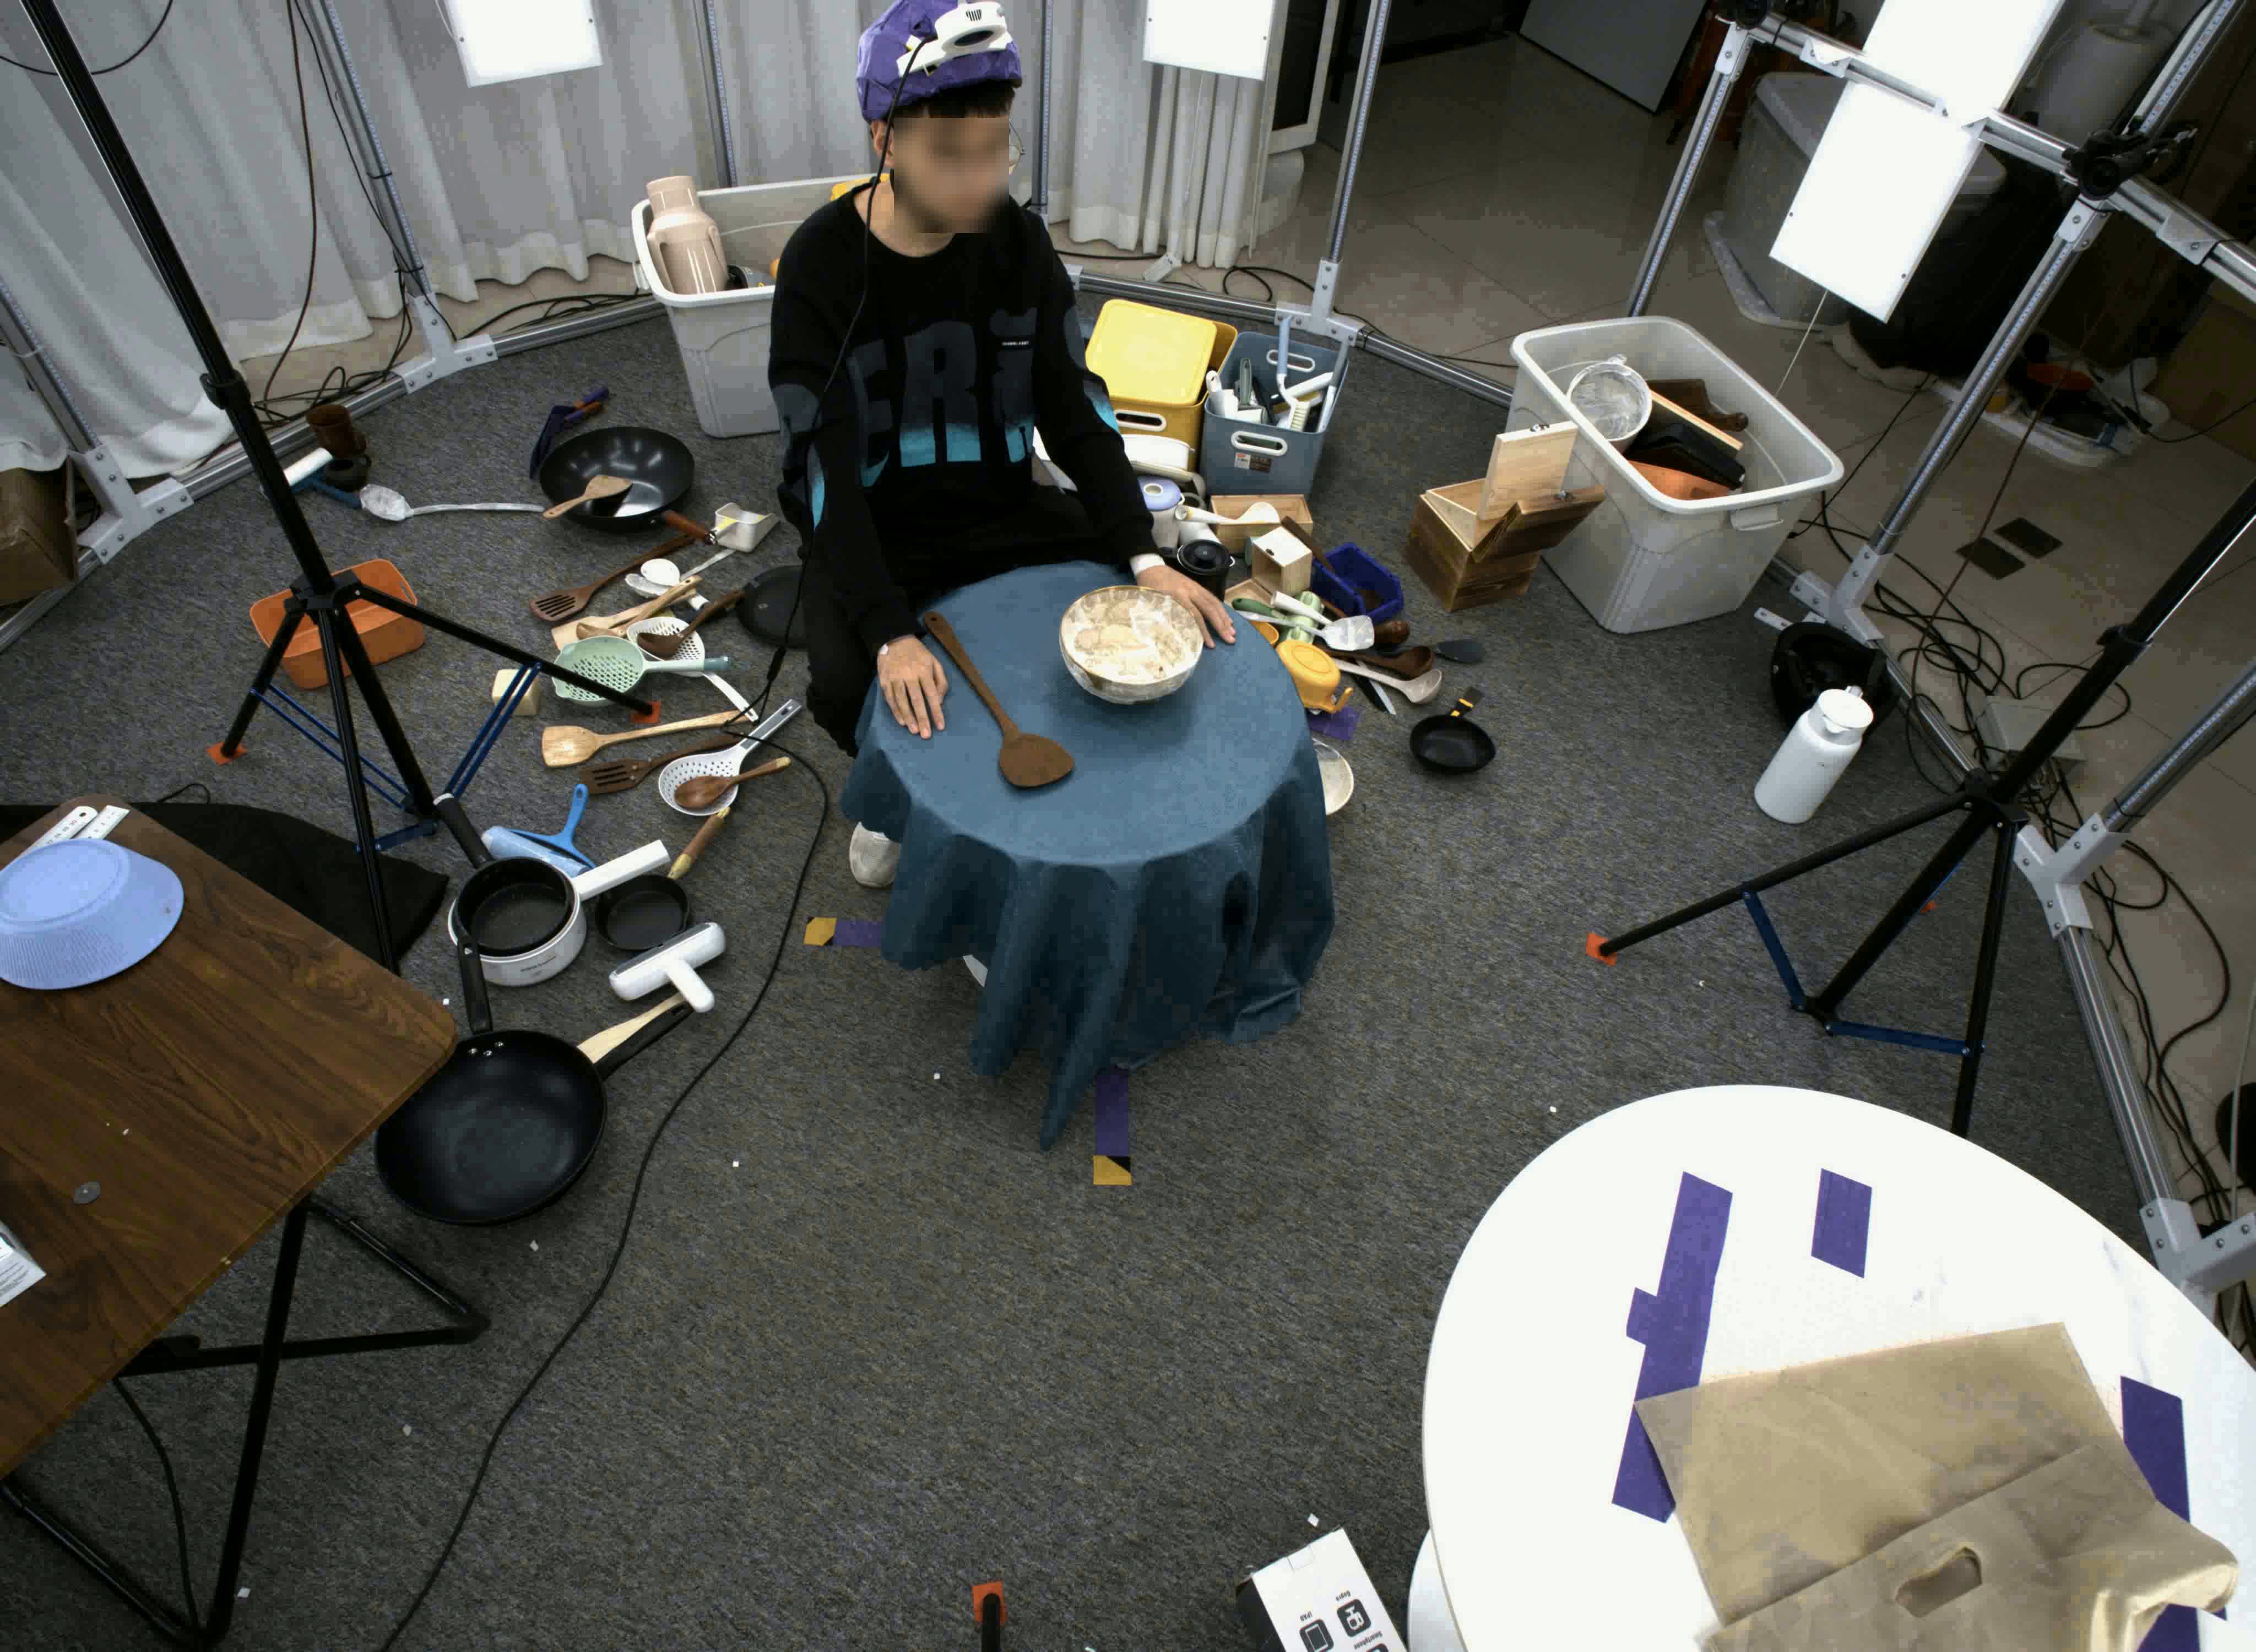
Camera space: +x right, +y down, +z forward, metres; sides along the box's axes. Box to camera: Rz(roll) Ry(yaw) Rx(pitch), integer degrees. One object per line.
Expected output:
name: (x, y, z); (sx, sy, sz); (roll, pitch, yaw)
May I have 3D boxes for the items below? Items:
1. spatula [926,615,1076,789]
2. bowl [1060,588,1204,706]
spatula: (-0.199, -0.187, 1.824); (0.096, 0.015, 0.394); (-21, 53, -21)
bowl: (0.004, -0.242, 1.836); (0.214, 0.092, 0.220); (0, 48, -1)
